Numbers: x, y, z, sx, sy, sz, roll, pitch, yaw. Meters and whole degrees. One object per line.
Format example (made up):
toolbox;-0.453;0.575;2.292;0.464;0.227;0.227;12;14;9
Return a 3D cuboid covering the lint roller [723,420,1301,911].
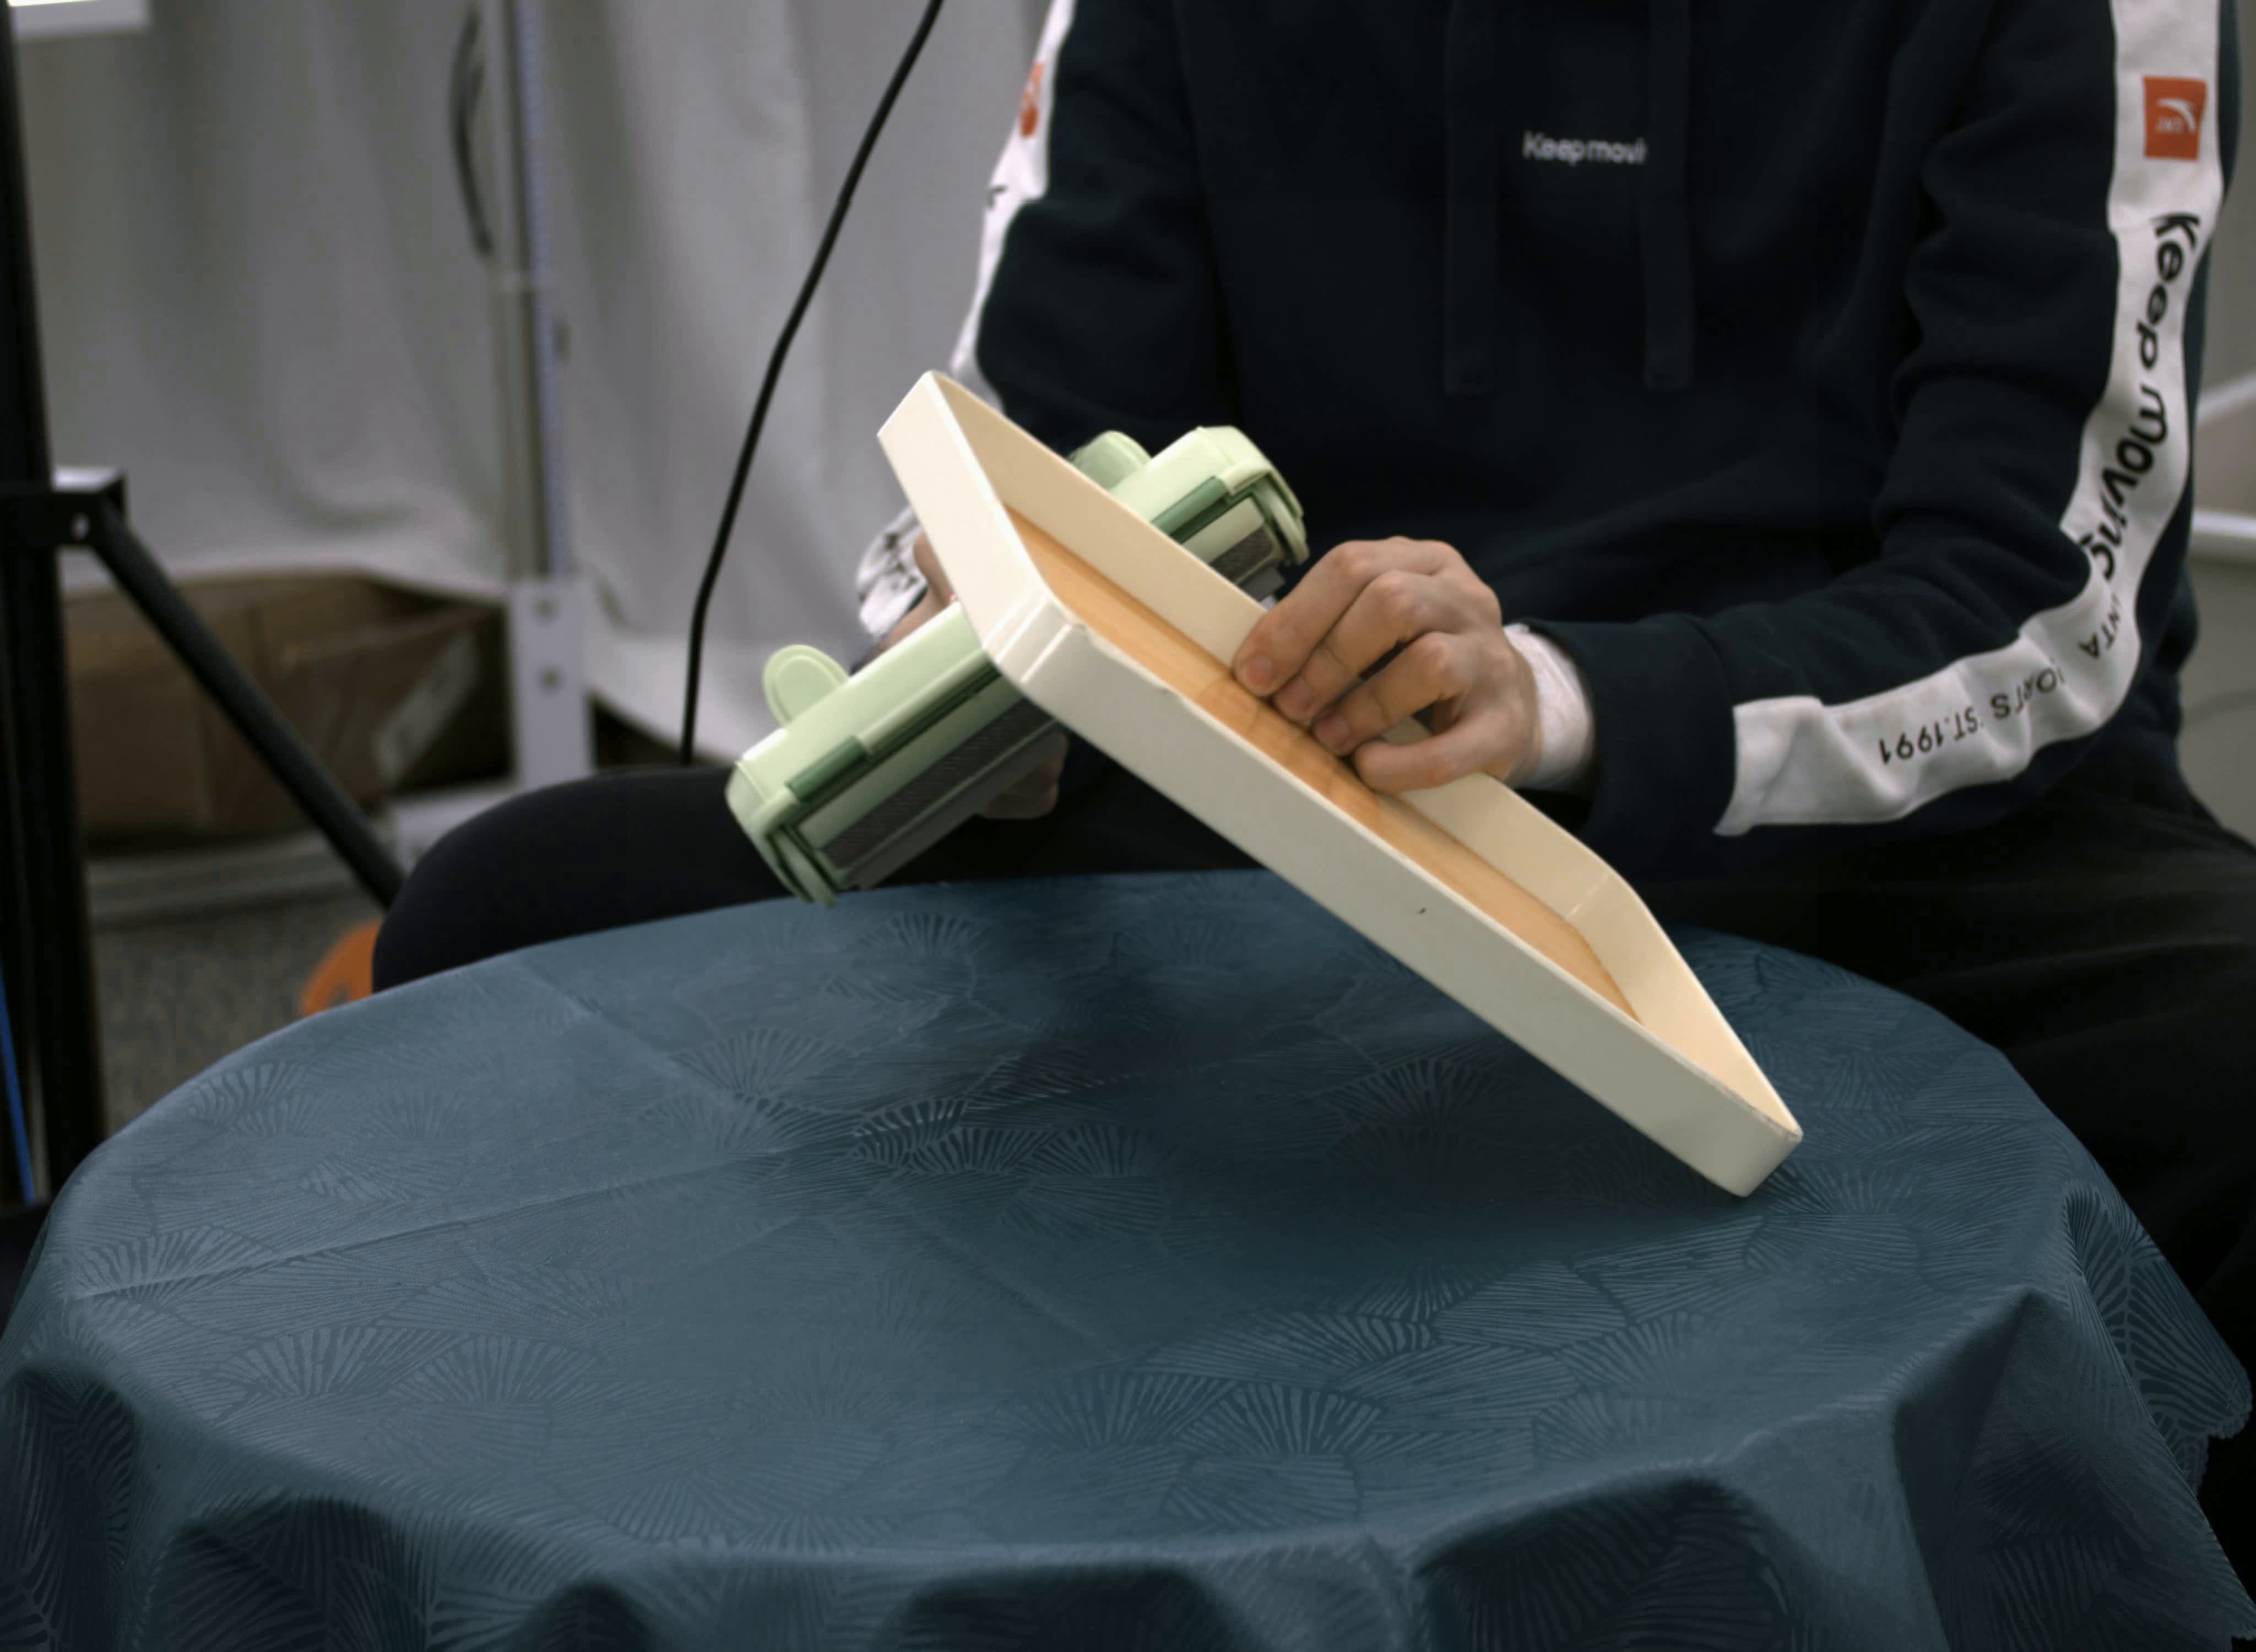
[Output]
lint roller;-0.045;-0.058;1.700;0.198;0.082;0.184;-37;5;-2

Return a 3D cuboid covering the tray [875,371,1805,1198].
tray;0.060;-0.012;1.540;0.294;0.027;0.194;36;12;-24
